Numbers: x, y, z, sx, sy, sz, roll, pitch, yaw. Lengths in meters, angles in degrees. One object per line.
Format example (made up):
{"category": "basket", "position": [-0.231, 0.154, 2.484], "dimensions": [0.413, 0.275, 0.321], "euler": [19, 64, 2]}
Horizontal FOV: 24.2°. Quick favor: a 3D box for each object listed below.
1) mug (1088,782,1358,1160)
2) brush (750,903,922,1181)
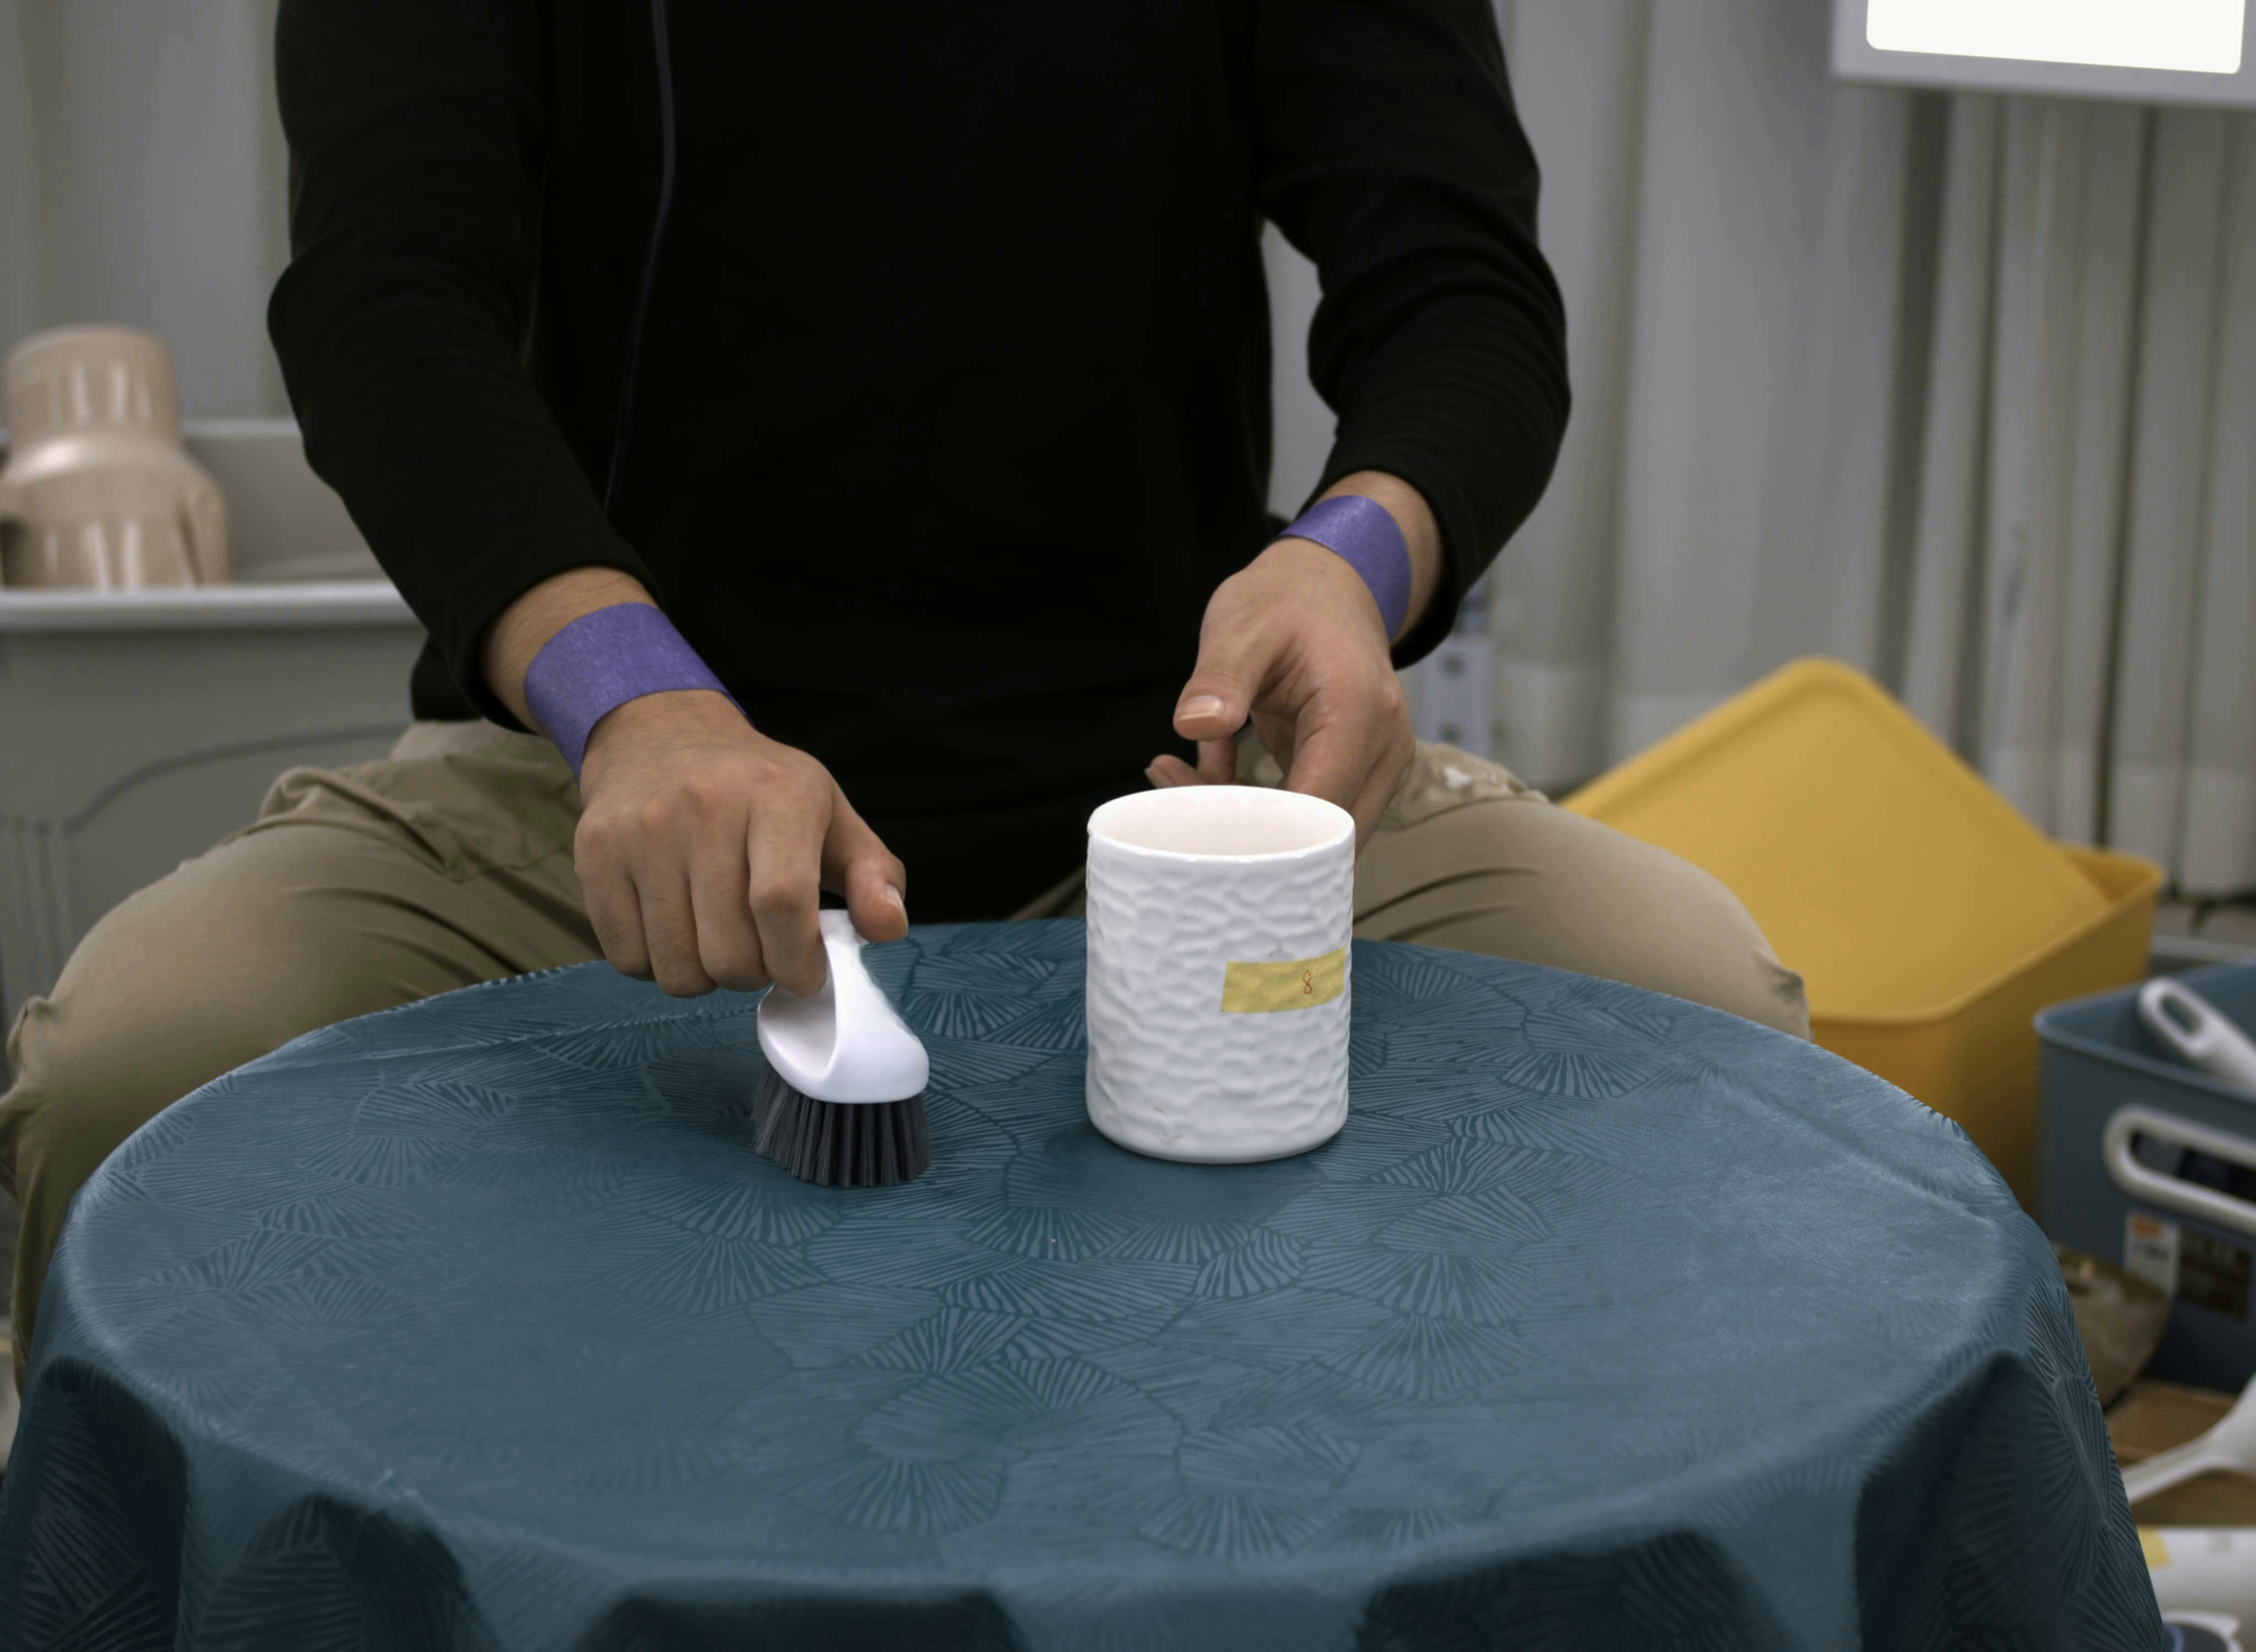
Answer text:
{"category": "mug", "position": [0.026, 0.042, 1.683], "dimensions": [0.085, 0.103, 0.117], "euler": [-3, 15, -13]}
{"category": "brush", "position": [-0.092, 0.063, 1.657], "dimensions": [0.050, 0.073, 0.098], "euler": [-1, 17, -12]}
